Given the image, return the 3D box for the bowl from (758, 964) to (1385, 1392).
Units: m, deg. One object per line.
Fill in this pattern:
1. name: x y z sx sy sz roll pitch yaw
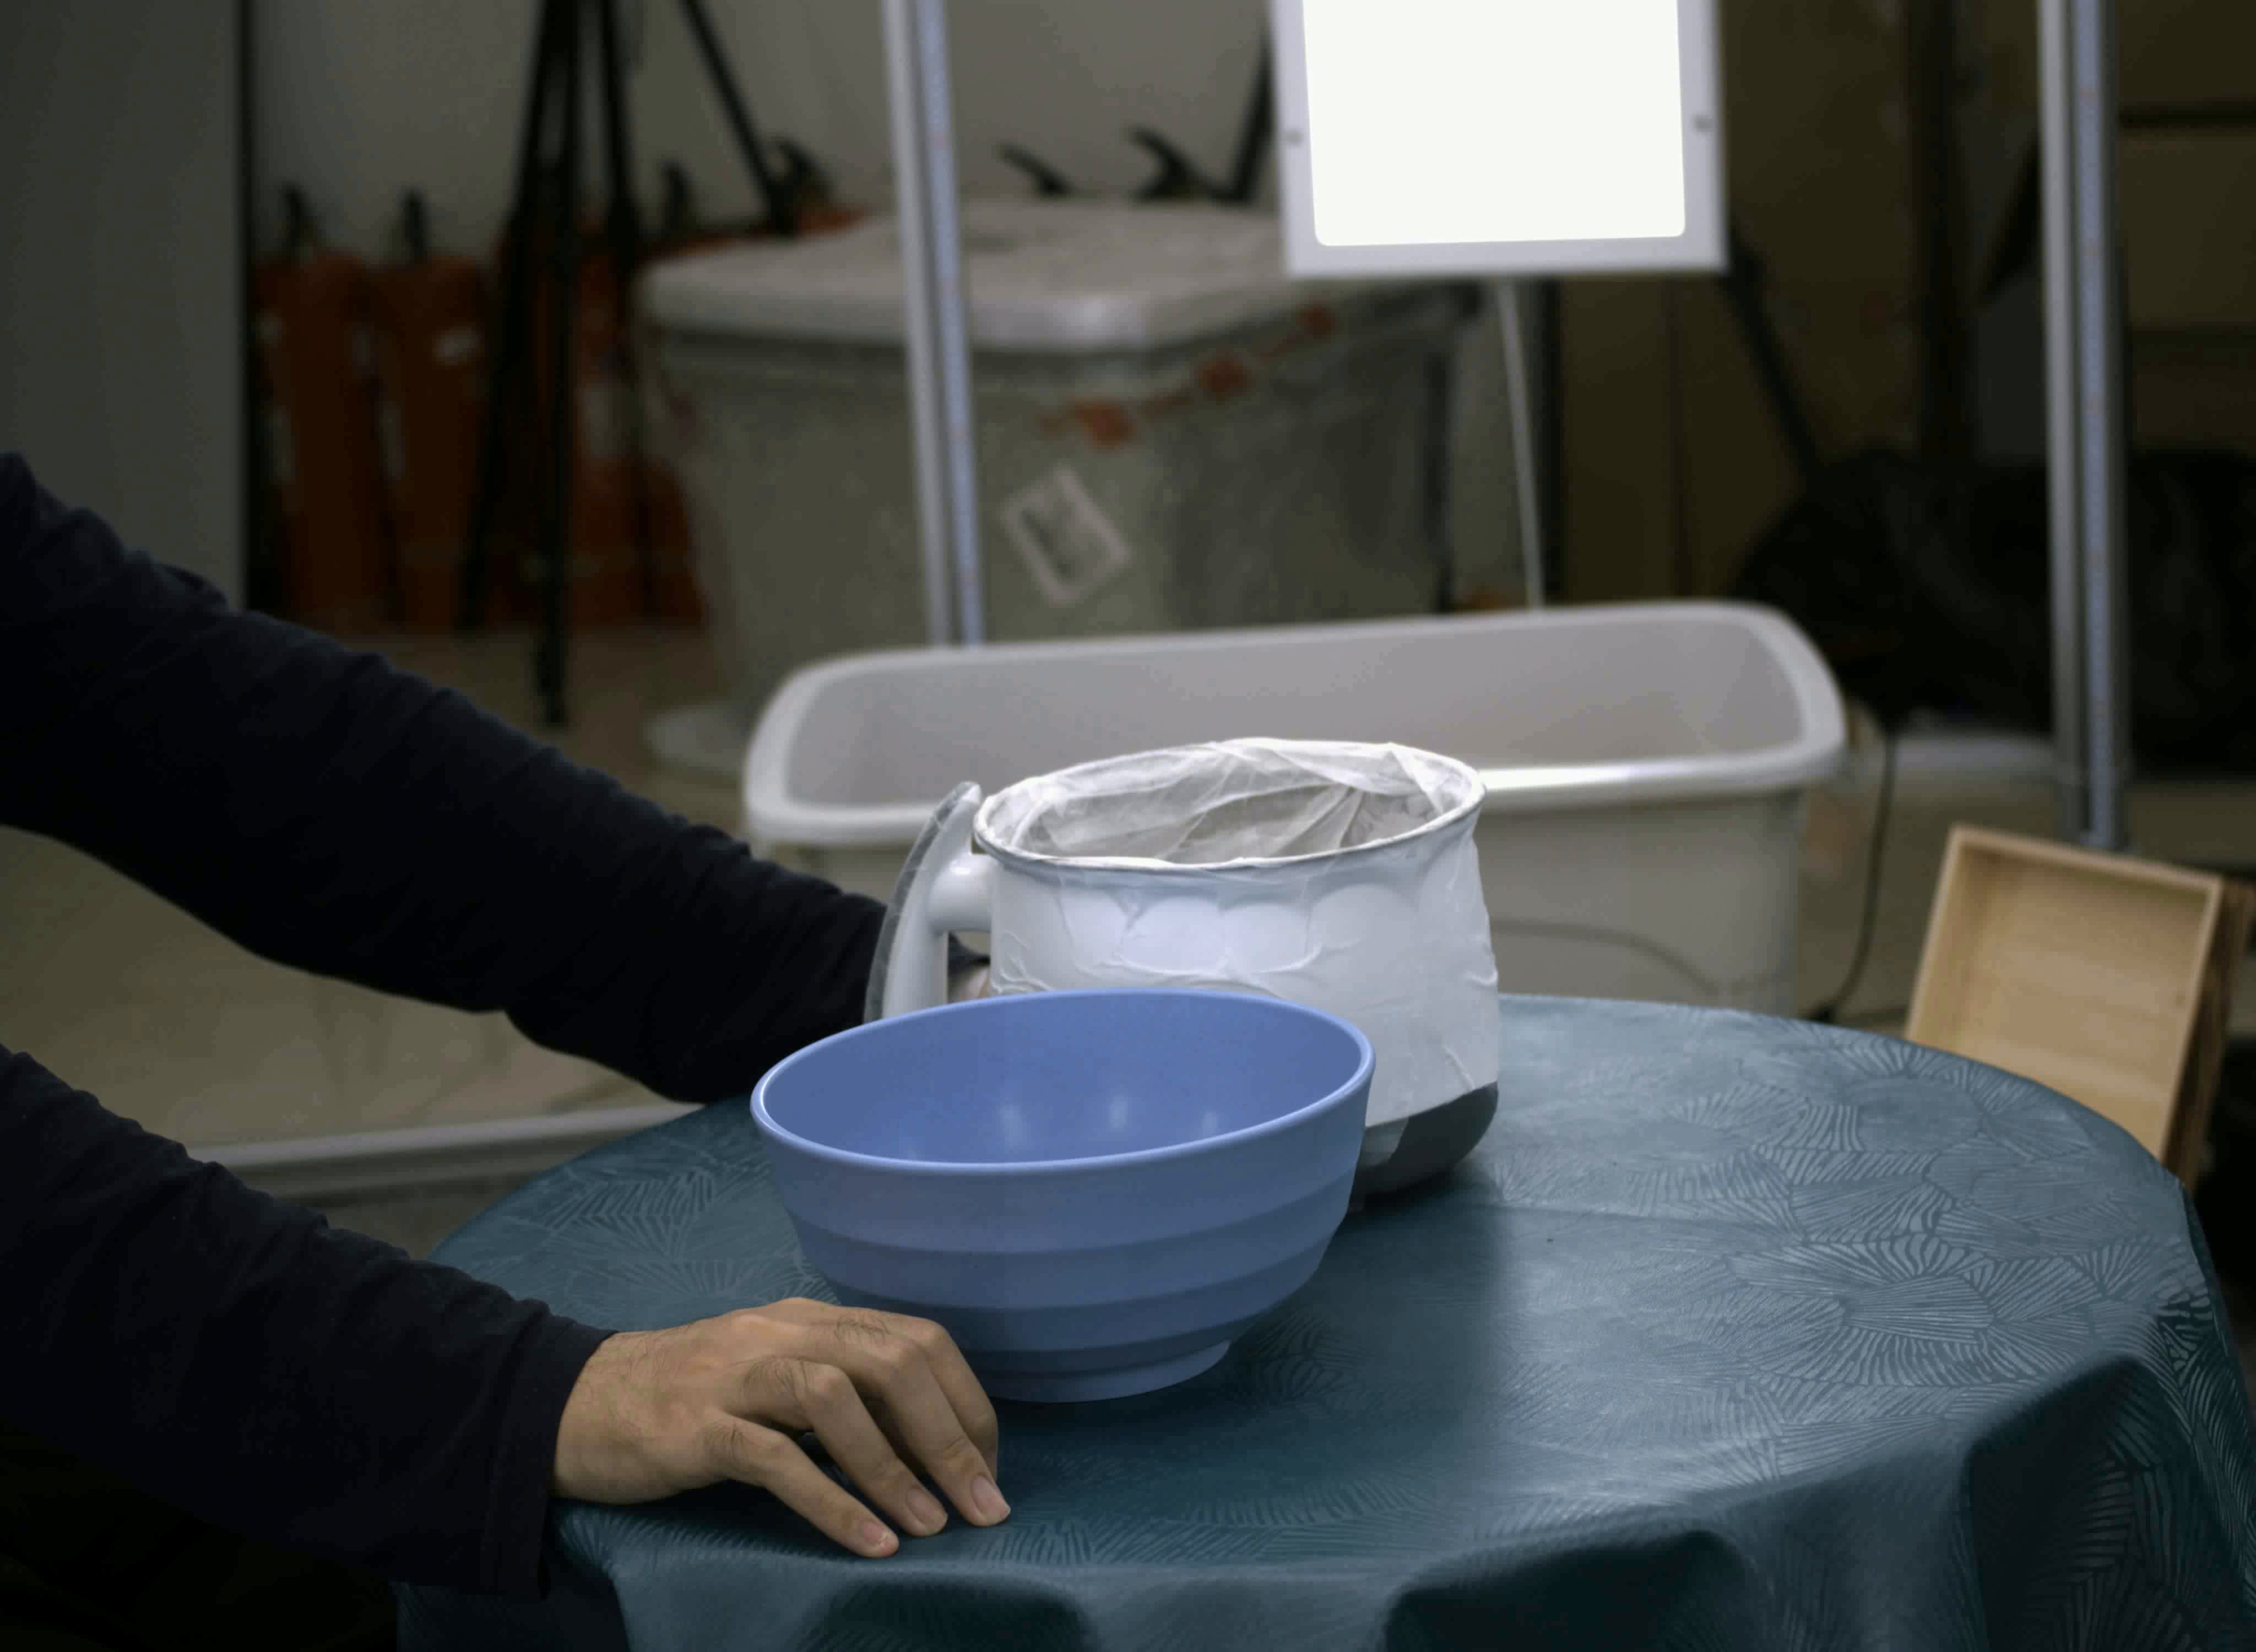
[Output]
1. bowl: -0.017 0.117 1.730 0.196 0.096 0.196 -2 16 -1

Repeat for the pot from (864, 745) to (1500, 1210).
1. pot: 0.014 0.051 1.914 0.237 0.137 0.175 2 12 23
